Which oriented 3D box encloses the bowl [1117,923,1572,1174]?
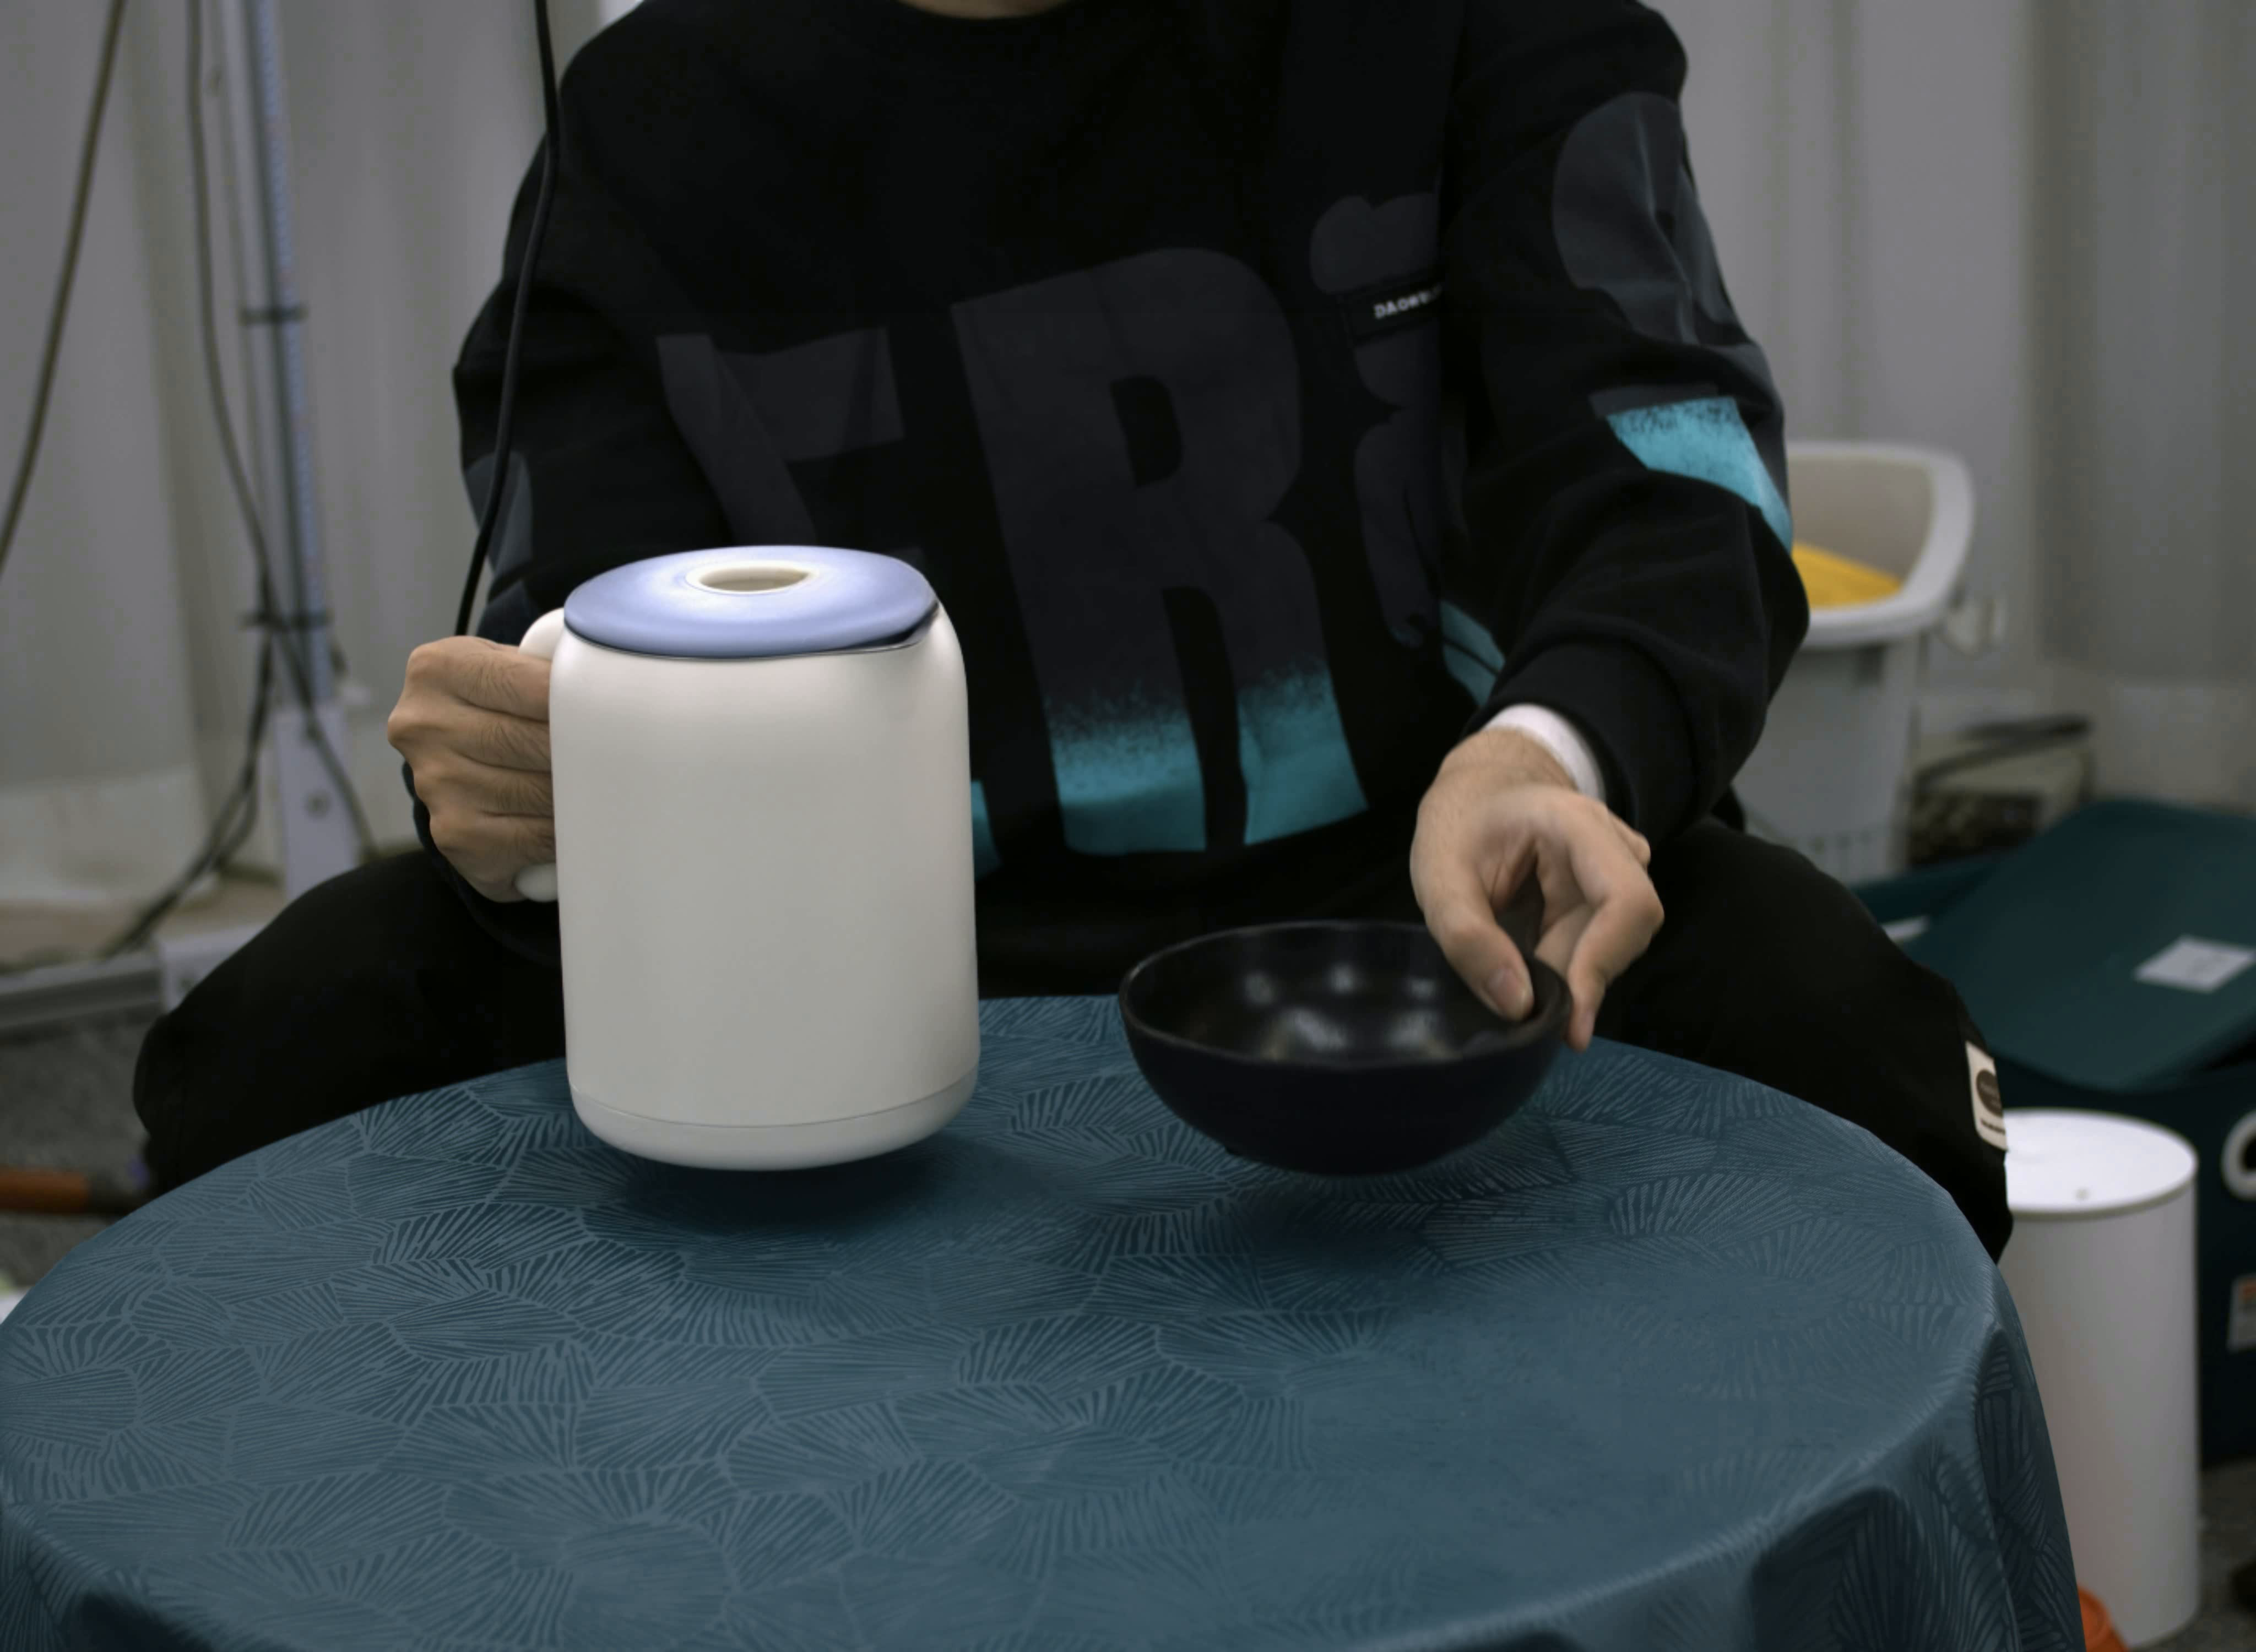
[{"bbox_3d":[0.066,0.072,1.668,0.139,0.049,0.141,-1,15,0],"label":"bowl"}]

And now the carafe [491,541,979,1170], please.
[{"bbox_3d":[-0.133,0.005,1.732,0.192,0.182,0.132,9,17,41],"label":"carafe"}]
